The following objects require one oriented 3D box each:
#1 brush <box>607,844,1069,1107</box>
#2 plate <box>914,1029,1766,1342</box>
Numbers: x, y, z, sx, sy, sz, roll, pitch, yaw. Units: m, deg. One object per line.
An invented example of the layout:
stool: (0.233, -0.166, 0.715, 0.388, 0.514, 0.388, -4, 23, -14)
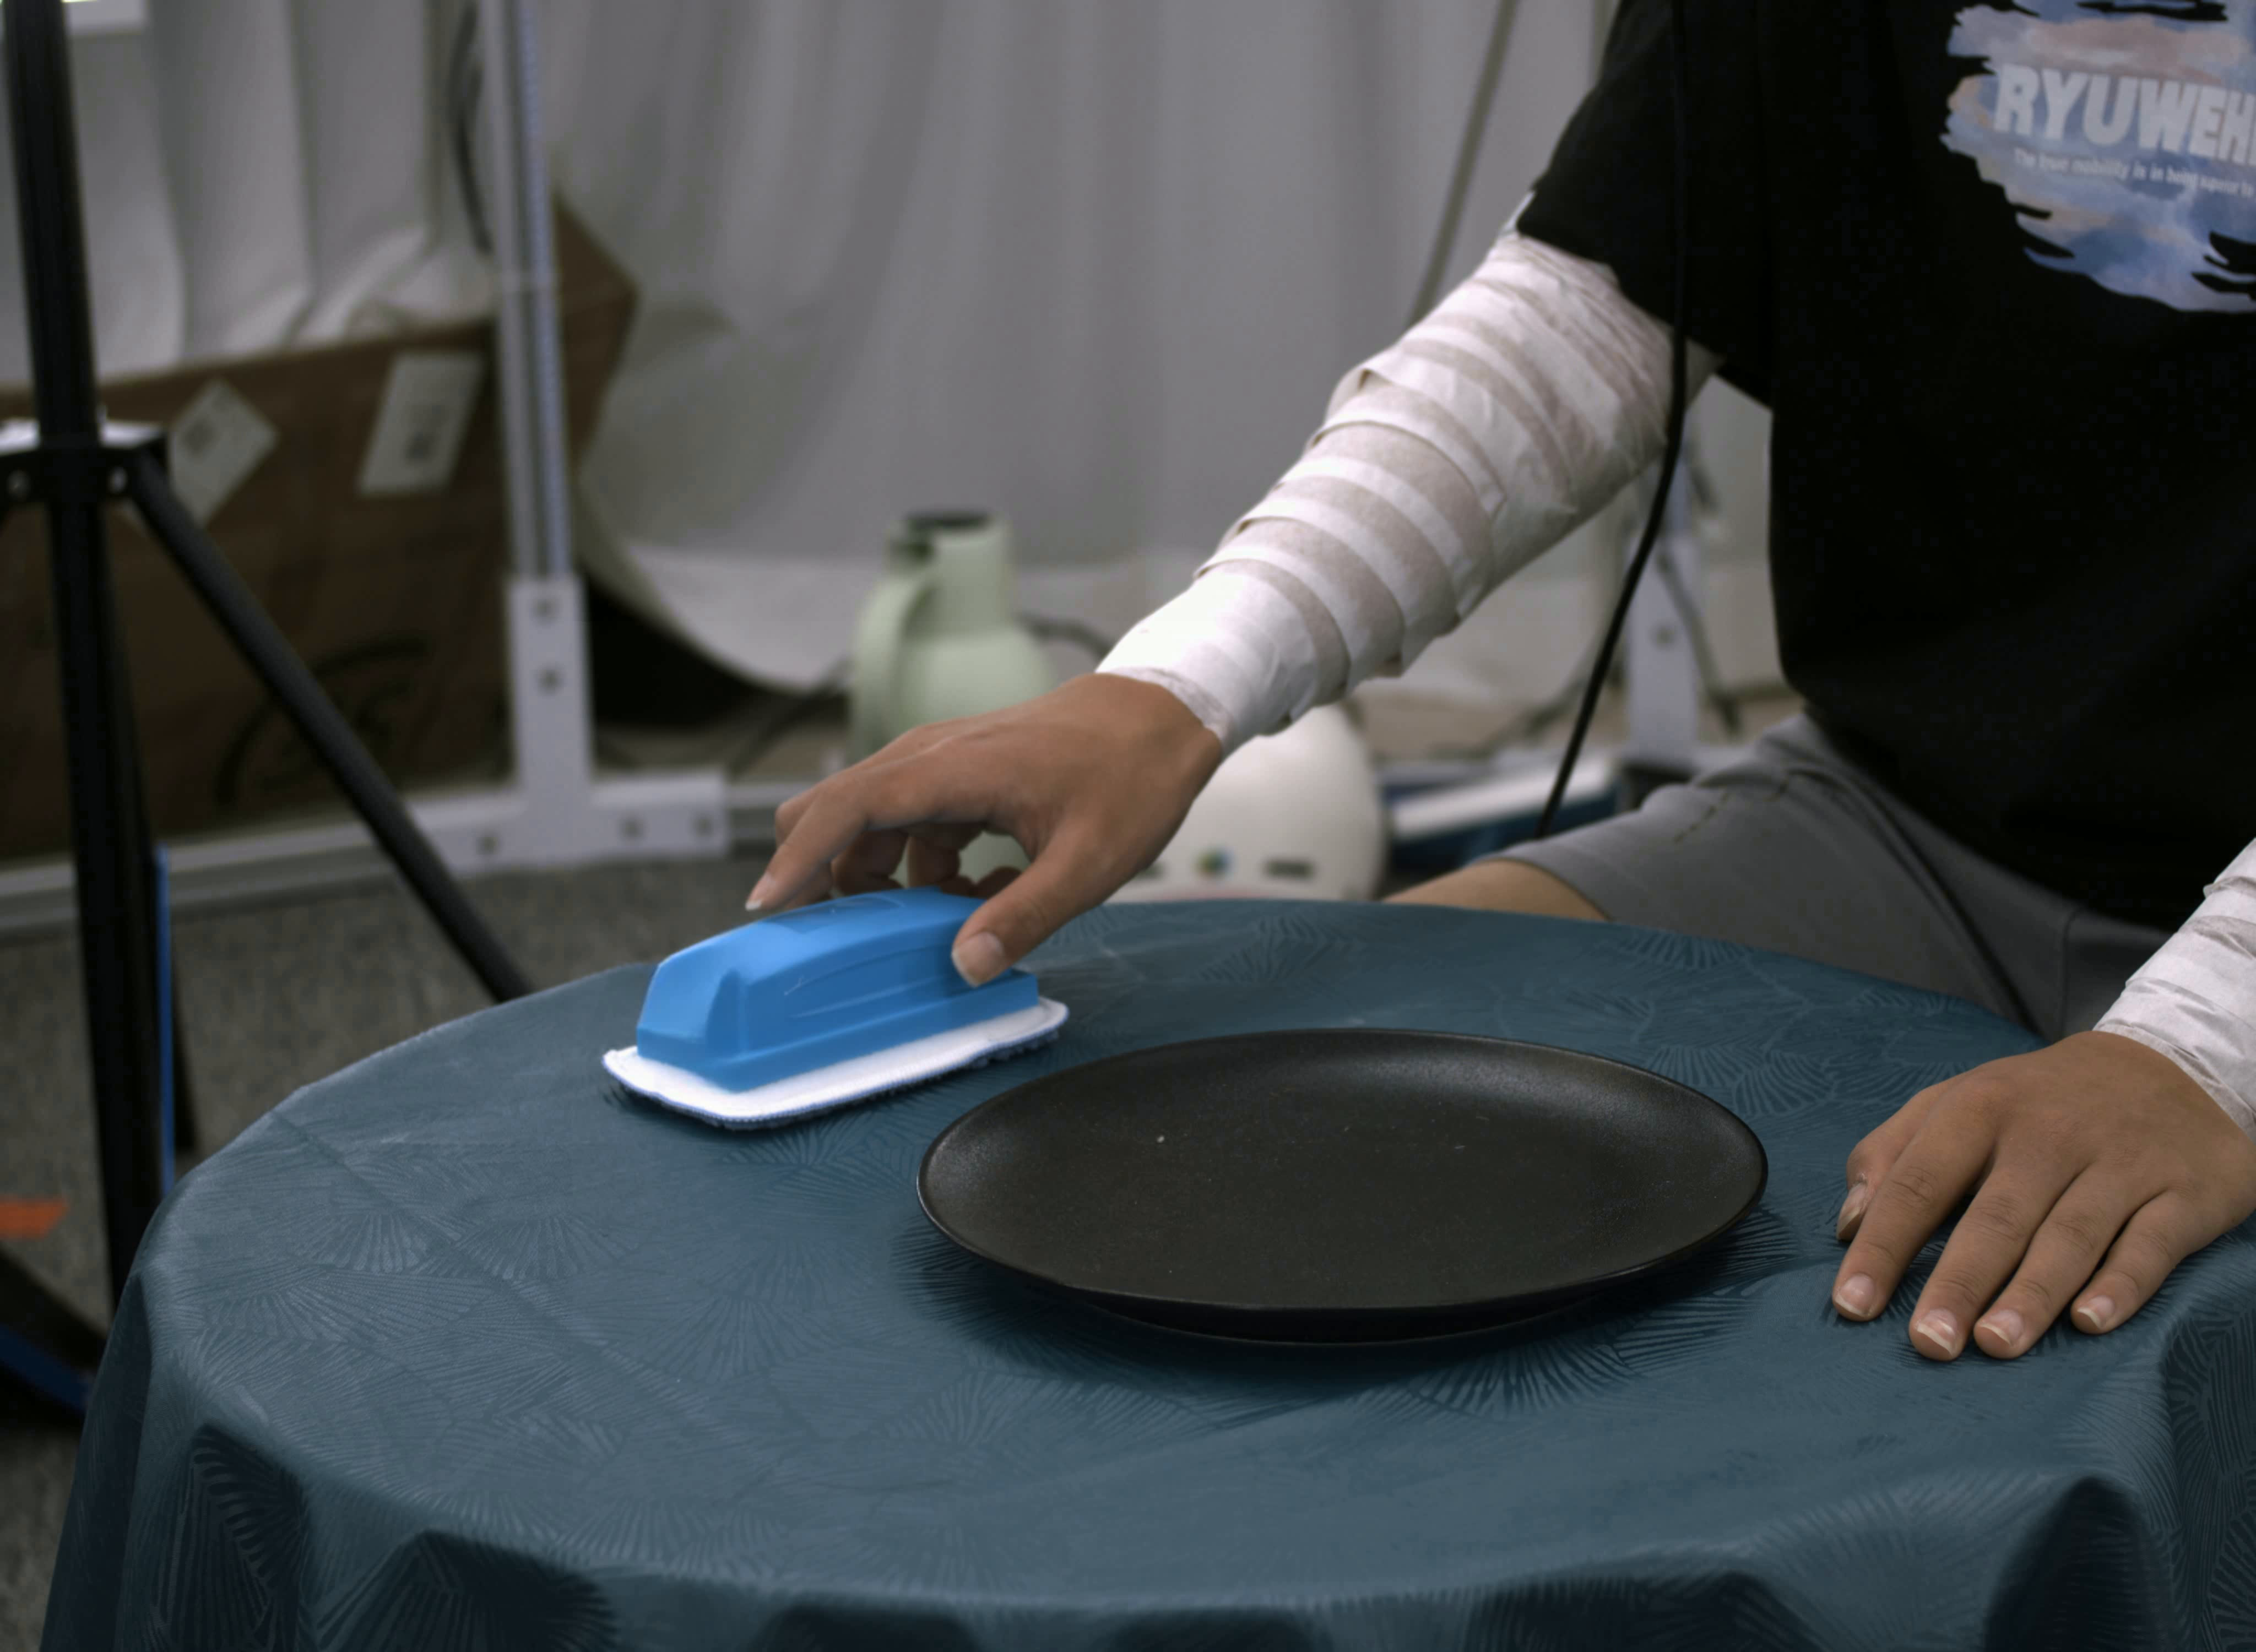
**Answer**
brush: (-0.091, 0.043, 1.686, 0.141, 0.056, 0.086, -19, 26, -37)
plate: (0.061, 0.105, 1.516, 0.243, 0.023, 0.245, -3, 16, -1)
